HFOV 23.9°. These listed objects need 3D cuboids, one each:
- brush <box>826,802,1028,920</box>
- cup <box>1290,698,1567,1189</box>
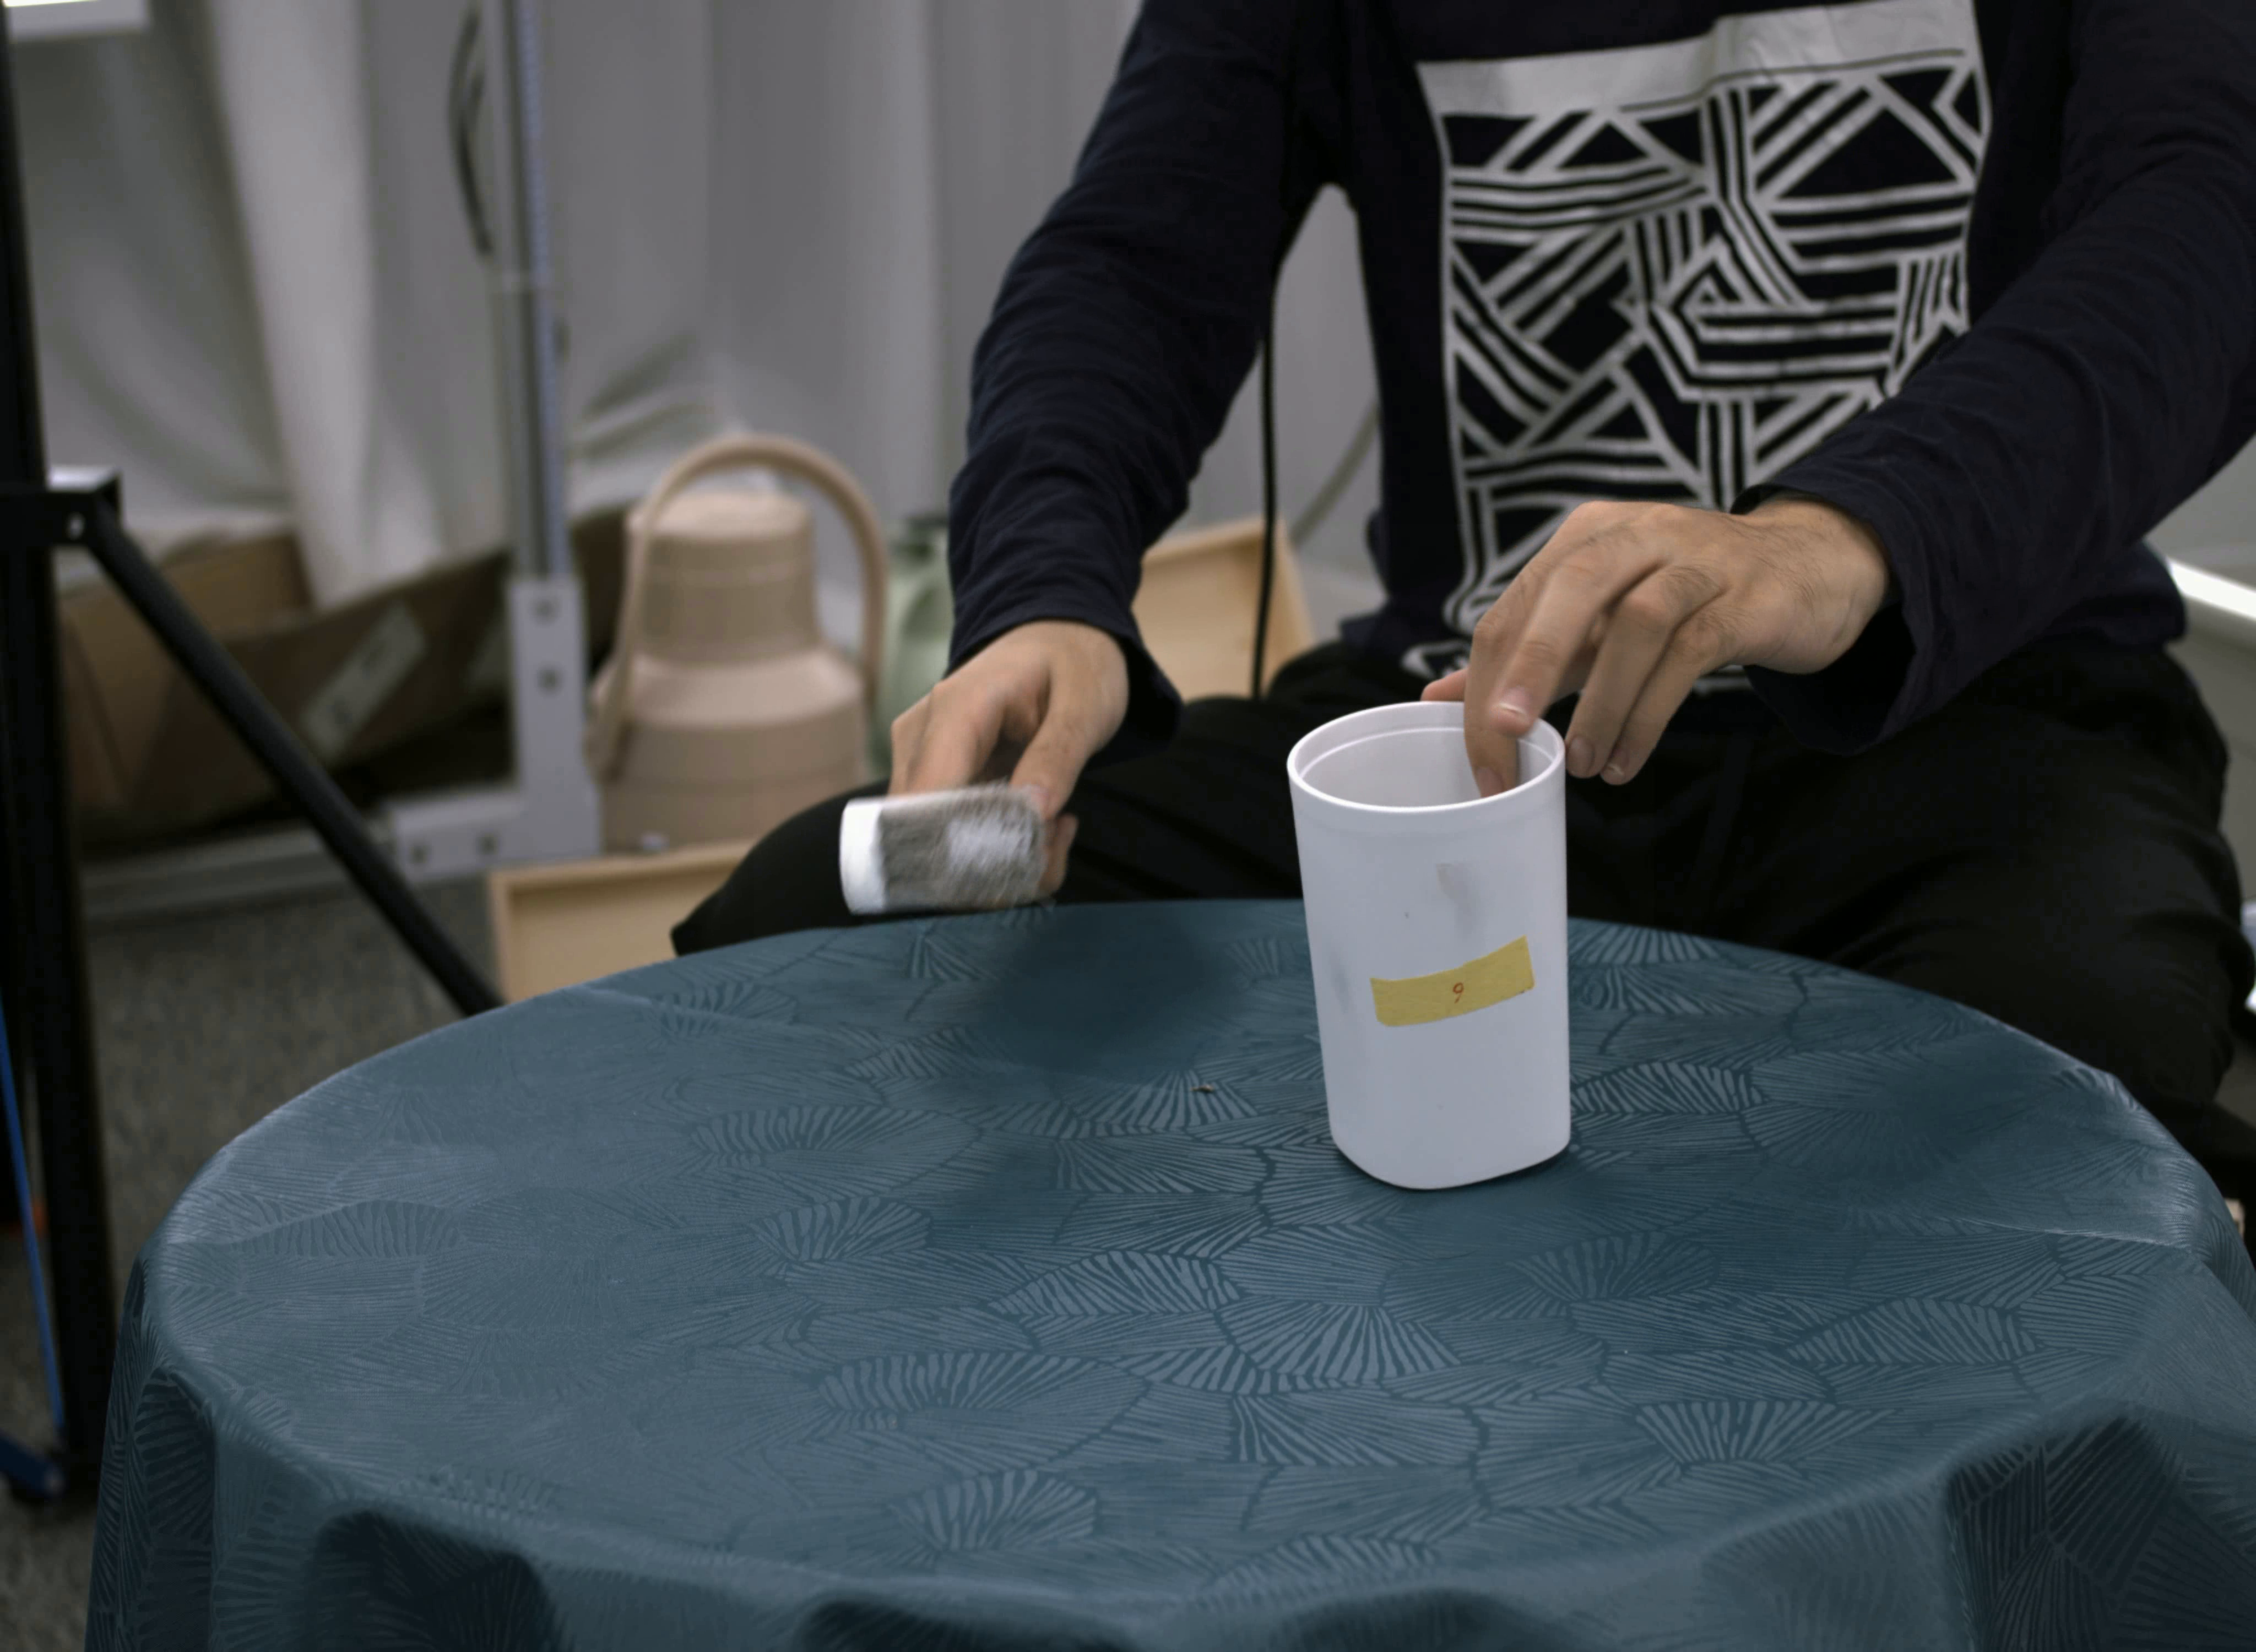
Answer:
[{"bbox_3d":[-0.043,0.010,1.679,0.050,0.034,0.241,-3,0,12],"label":"brush"},{"bbox_3d":[0.091,0.036,1.559,0.081,0.125,0.082,-4,22,0],"label":"cup"}]
